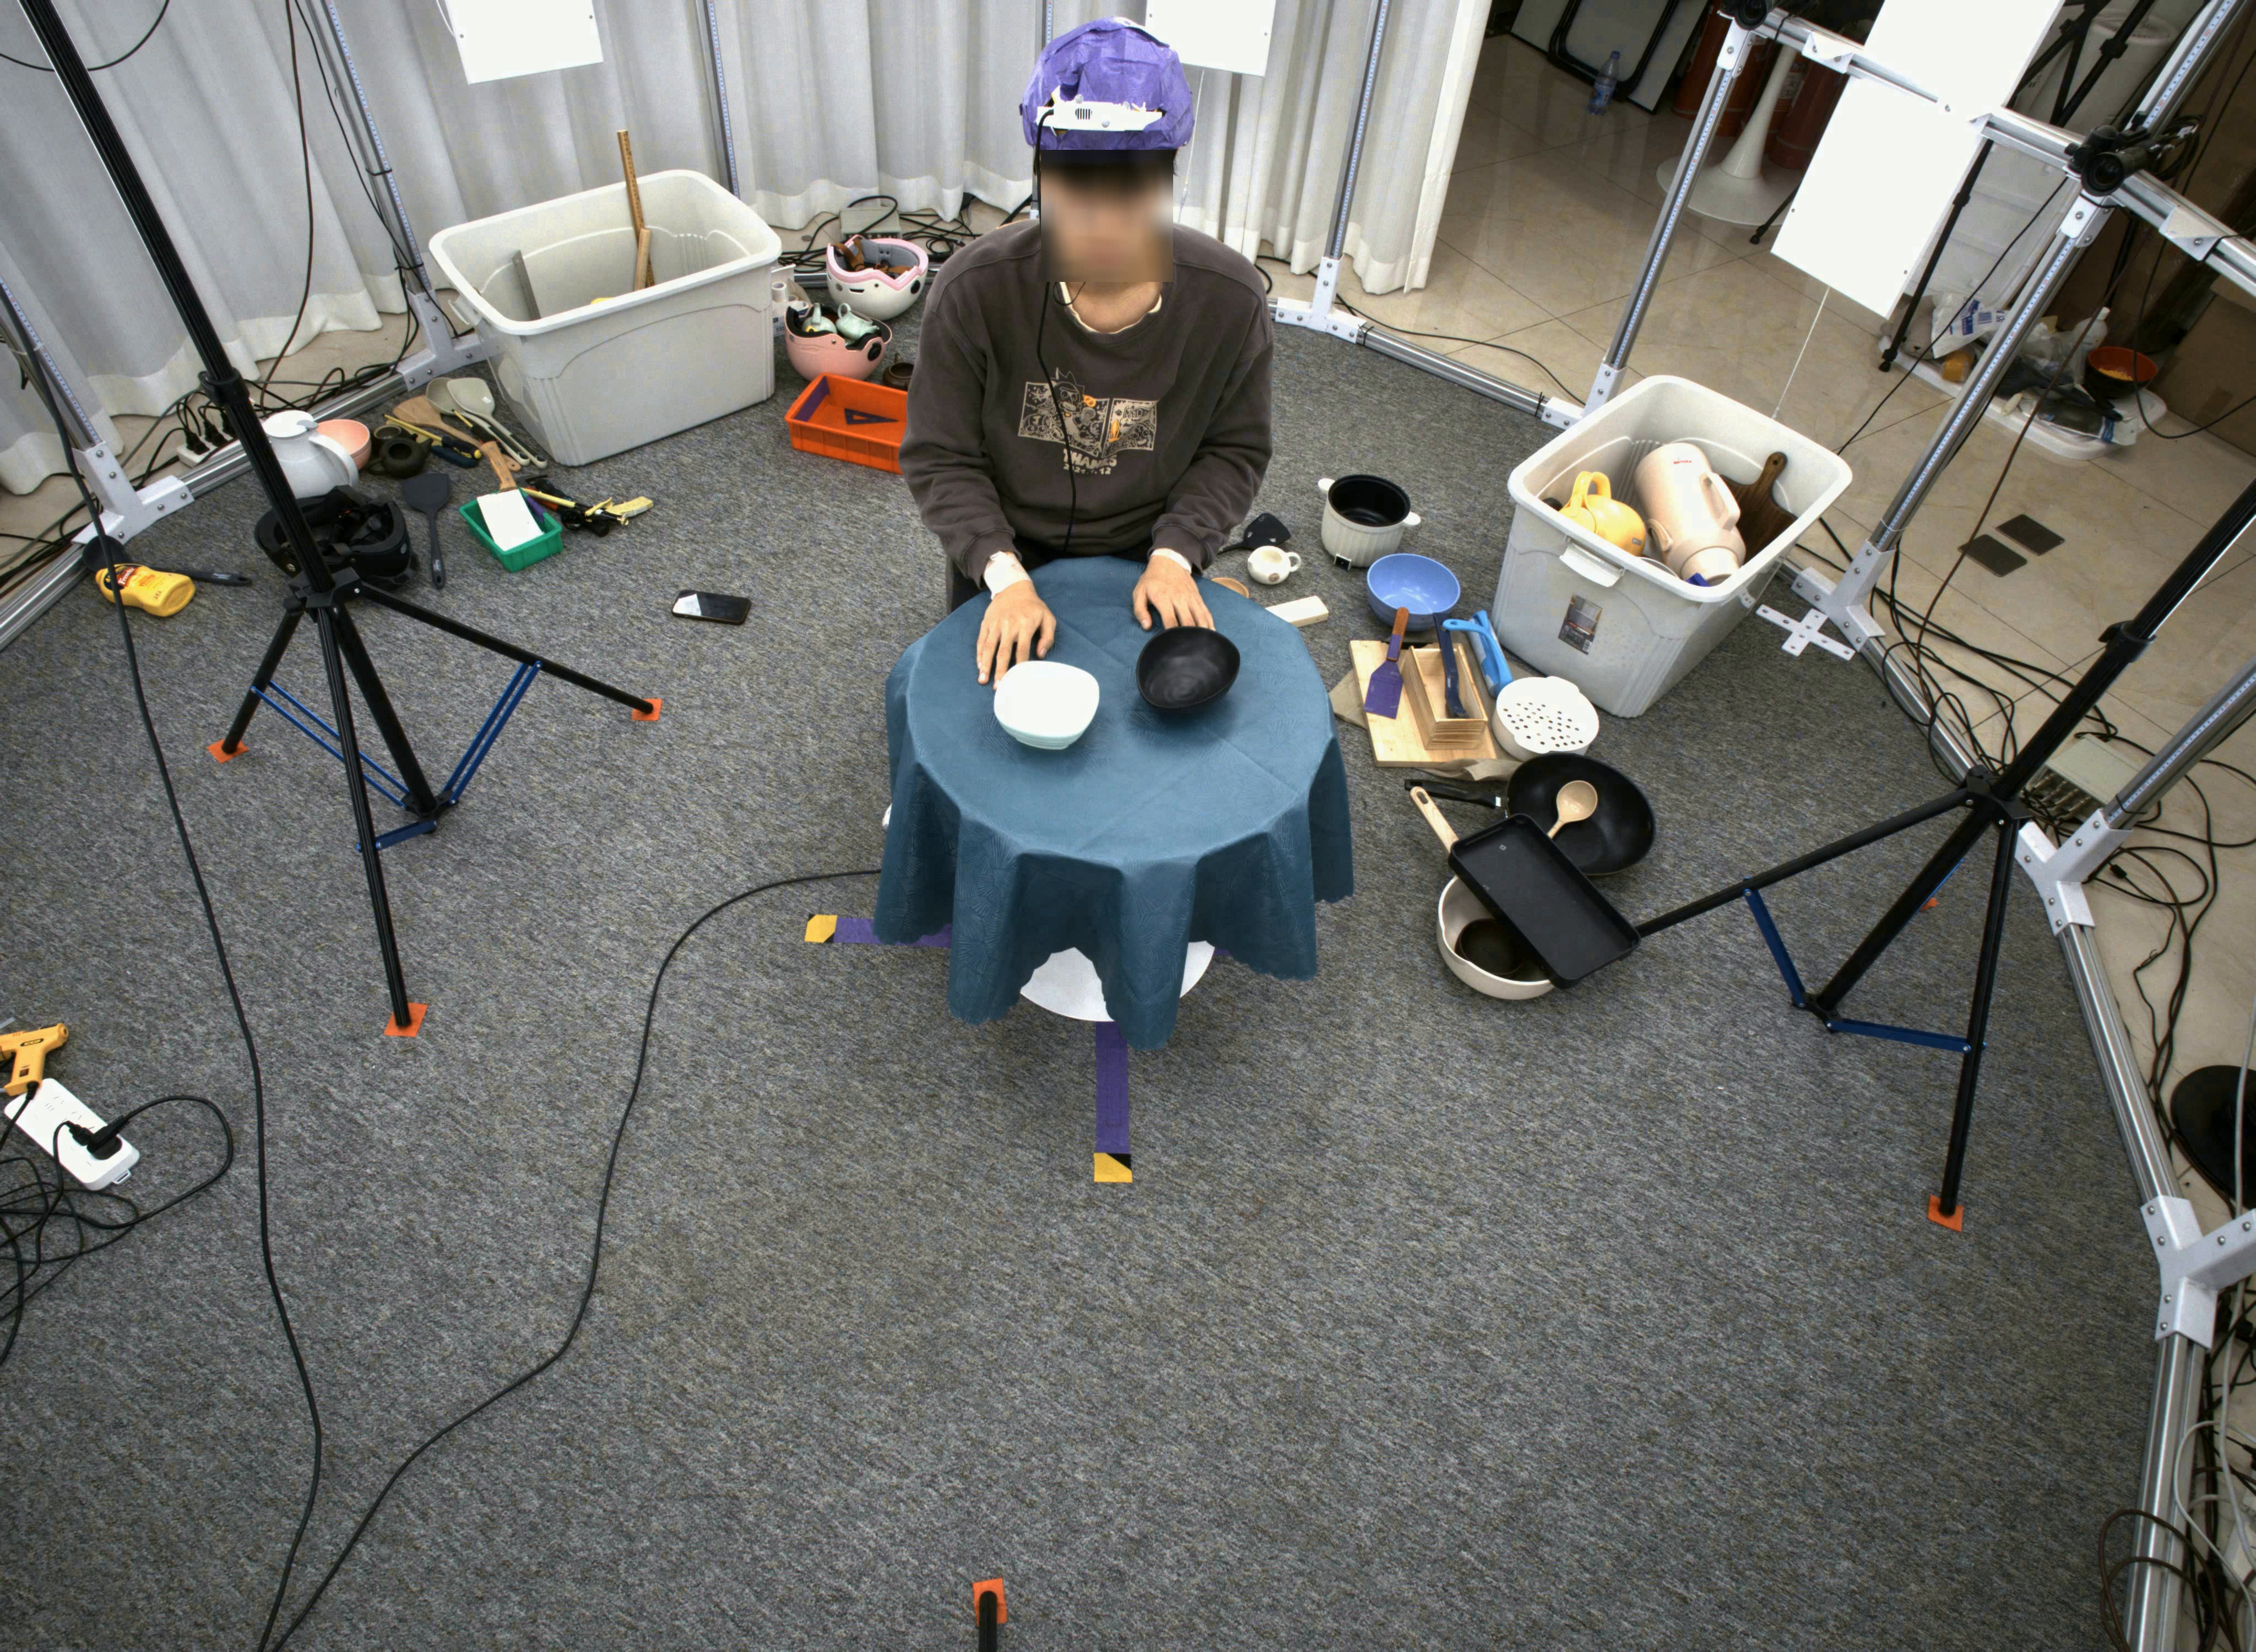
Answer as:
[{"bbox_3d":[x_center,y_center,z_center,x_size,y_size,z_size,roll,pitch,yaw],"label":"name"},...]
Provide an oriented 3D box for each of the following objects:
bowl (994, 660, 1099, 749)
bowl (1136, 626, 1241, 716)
[{"bbox_3d":[-0.112,-0.157,1.758,0.151,0.057,0.155,3,50,-4],"label":"bowl"},{"bbox_3d":[0.083,-0.207,1.810,0.138,0.065,0.173,28,54,20],"label":"bowl"}]
